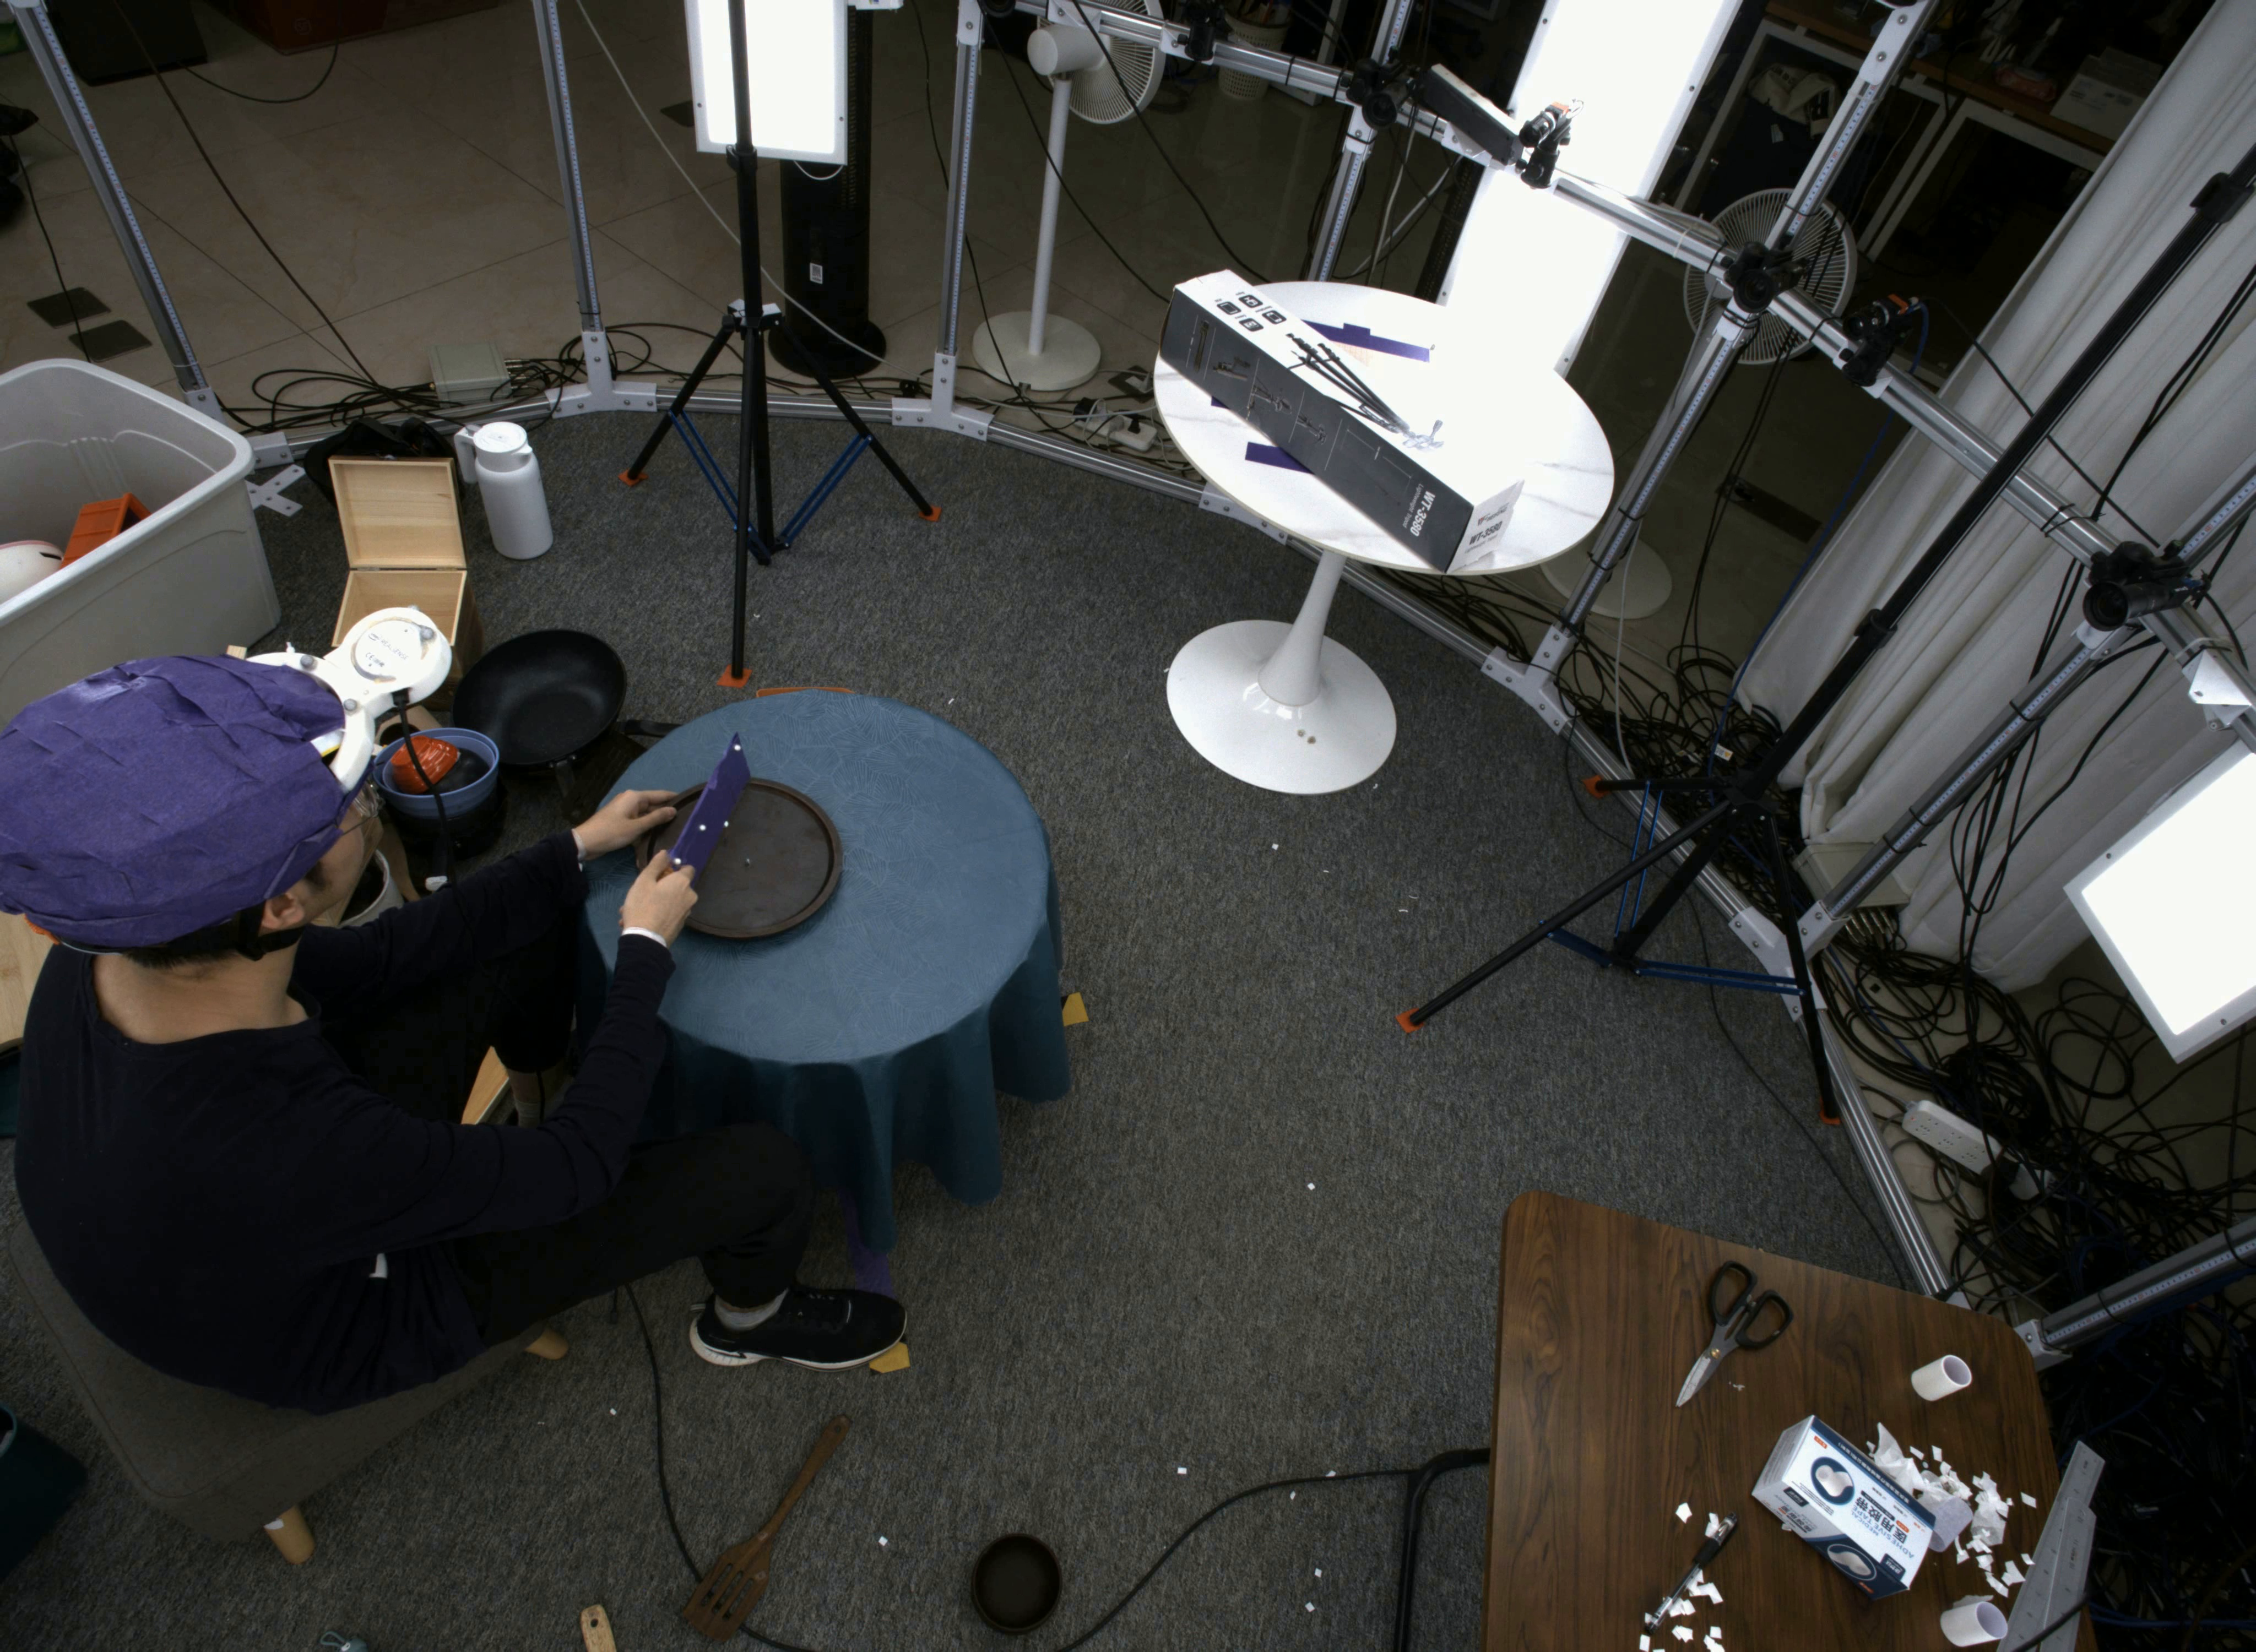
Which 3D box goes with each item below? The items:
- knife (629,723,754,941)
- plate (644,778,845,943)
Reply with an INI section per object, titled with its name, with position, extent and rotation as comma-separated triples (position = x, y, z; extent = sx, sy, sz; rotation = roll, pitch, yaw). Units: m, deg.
[knife]
position = -0.527, 0.021, 1.589
extent = 0.031, 0.107, 0.312
rotation = 11, 54, 8
[plate]
position = -0.493, 0.041, 1.664
extent = 0.255, 0.029, 0.250
rotation = 11, 52, -12
